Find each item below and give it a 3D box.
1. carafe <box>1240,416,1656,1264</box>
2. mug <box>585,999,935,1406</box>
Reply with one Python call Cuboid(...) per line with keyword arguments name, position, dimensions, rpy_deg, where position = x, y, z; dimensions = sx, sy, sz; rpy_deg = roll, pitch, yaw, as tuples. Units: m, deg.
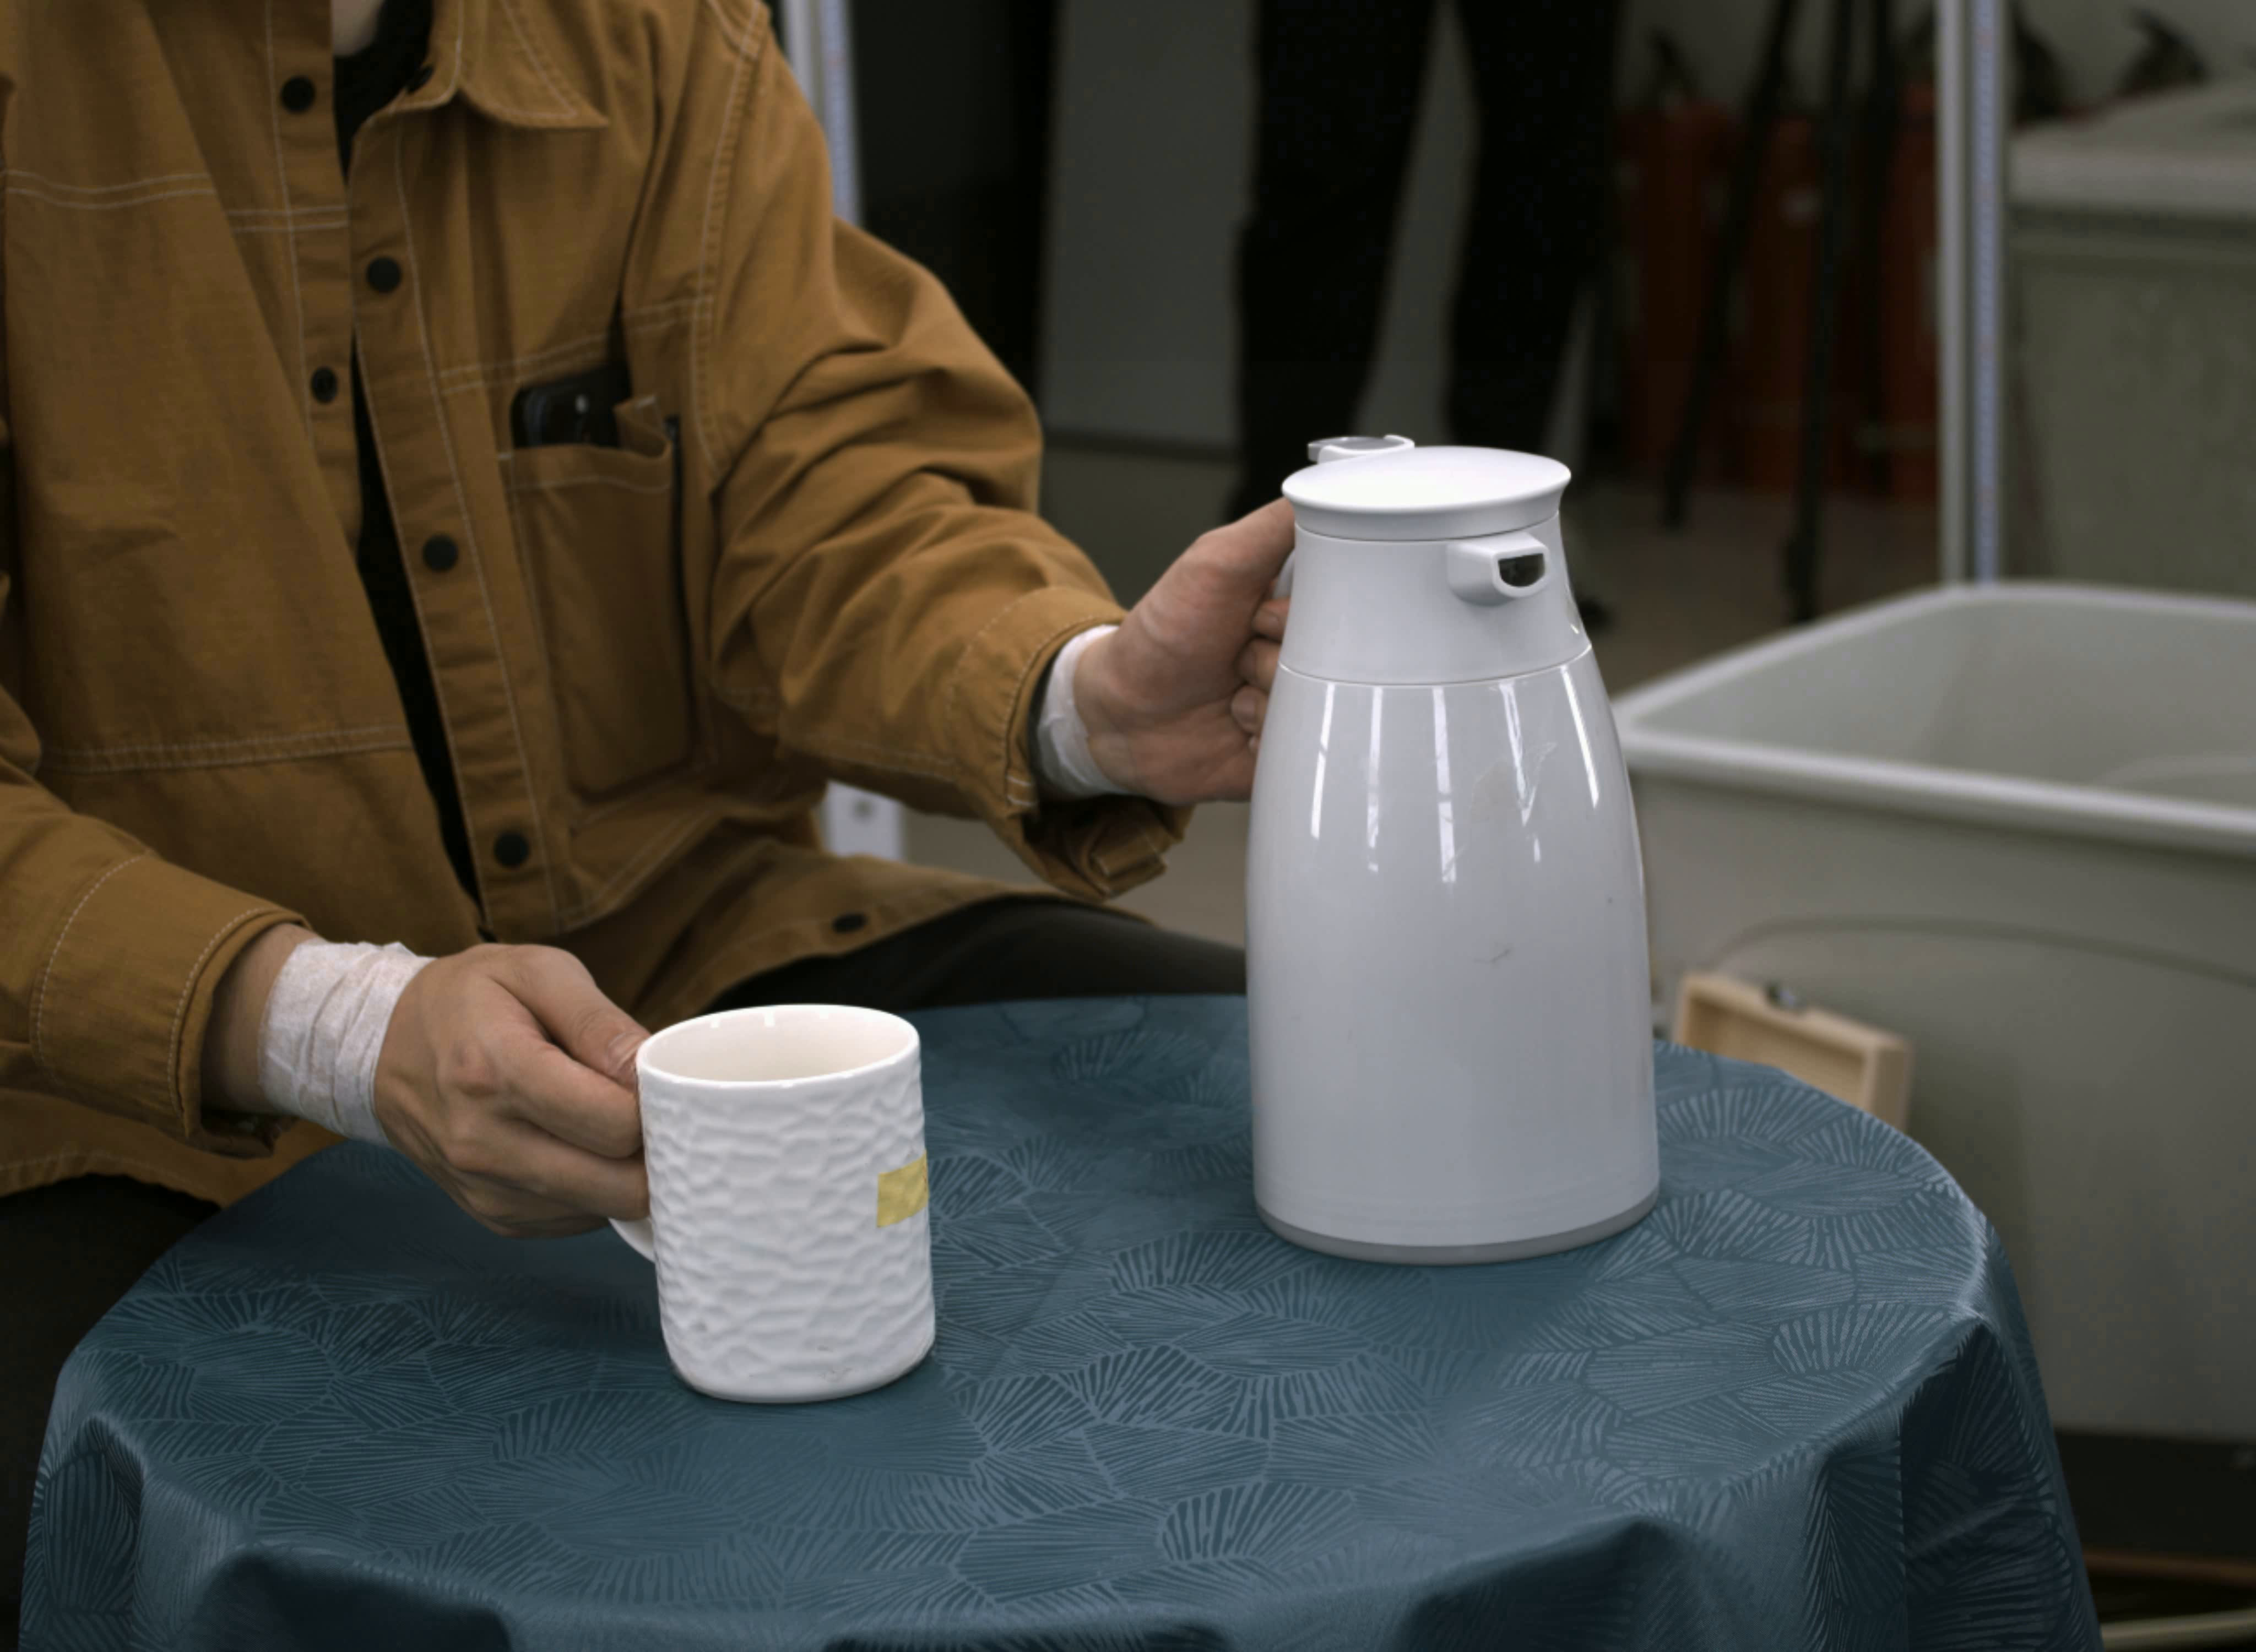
Cuboid(name="carafe", position=(0.089, -0.004, 1.729), dimensions=(0.130, 0.251, 0.169), rpy_deg=(-11, 15, -24))
Cuboid(name="mug", position=(-0.115, 0.111, 1.632), dimensions=(0.119, 0.103, 0.083), rpy_deg=(6, 17, 36))
